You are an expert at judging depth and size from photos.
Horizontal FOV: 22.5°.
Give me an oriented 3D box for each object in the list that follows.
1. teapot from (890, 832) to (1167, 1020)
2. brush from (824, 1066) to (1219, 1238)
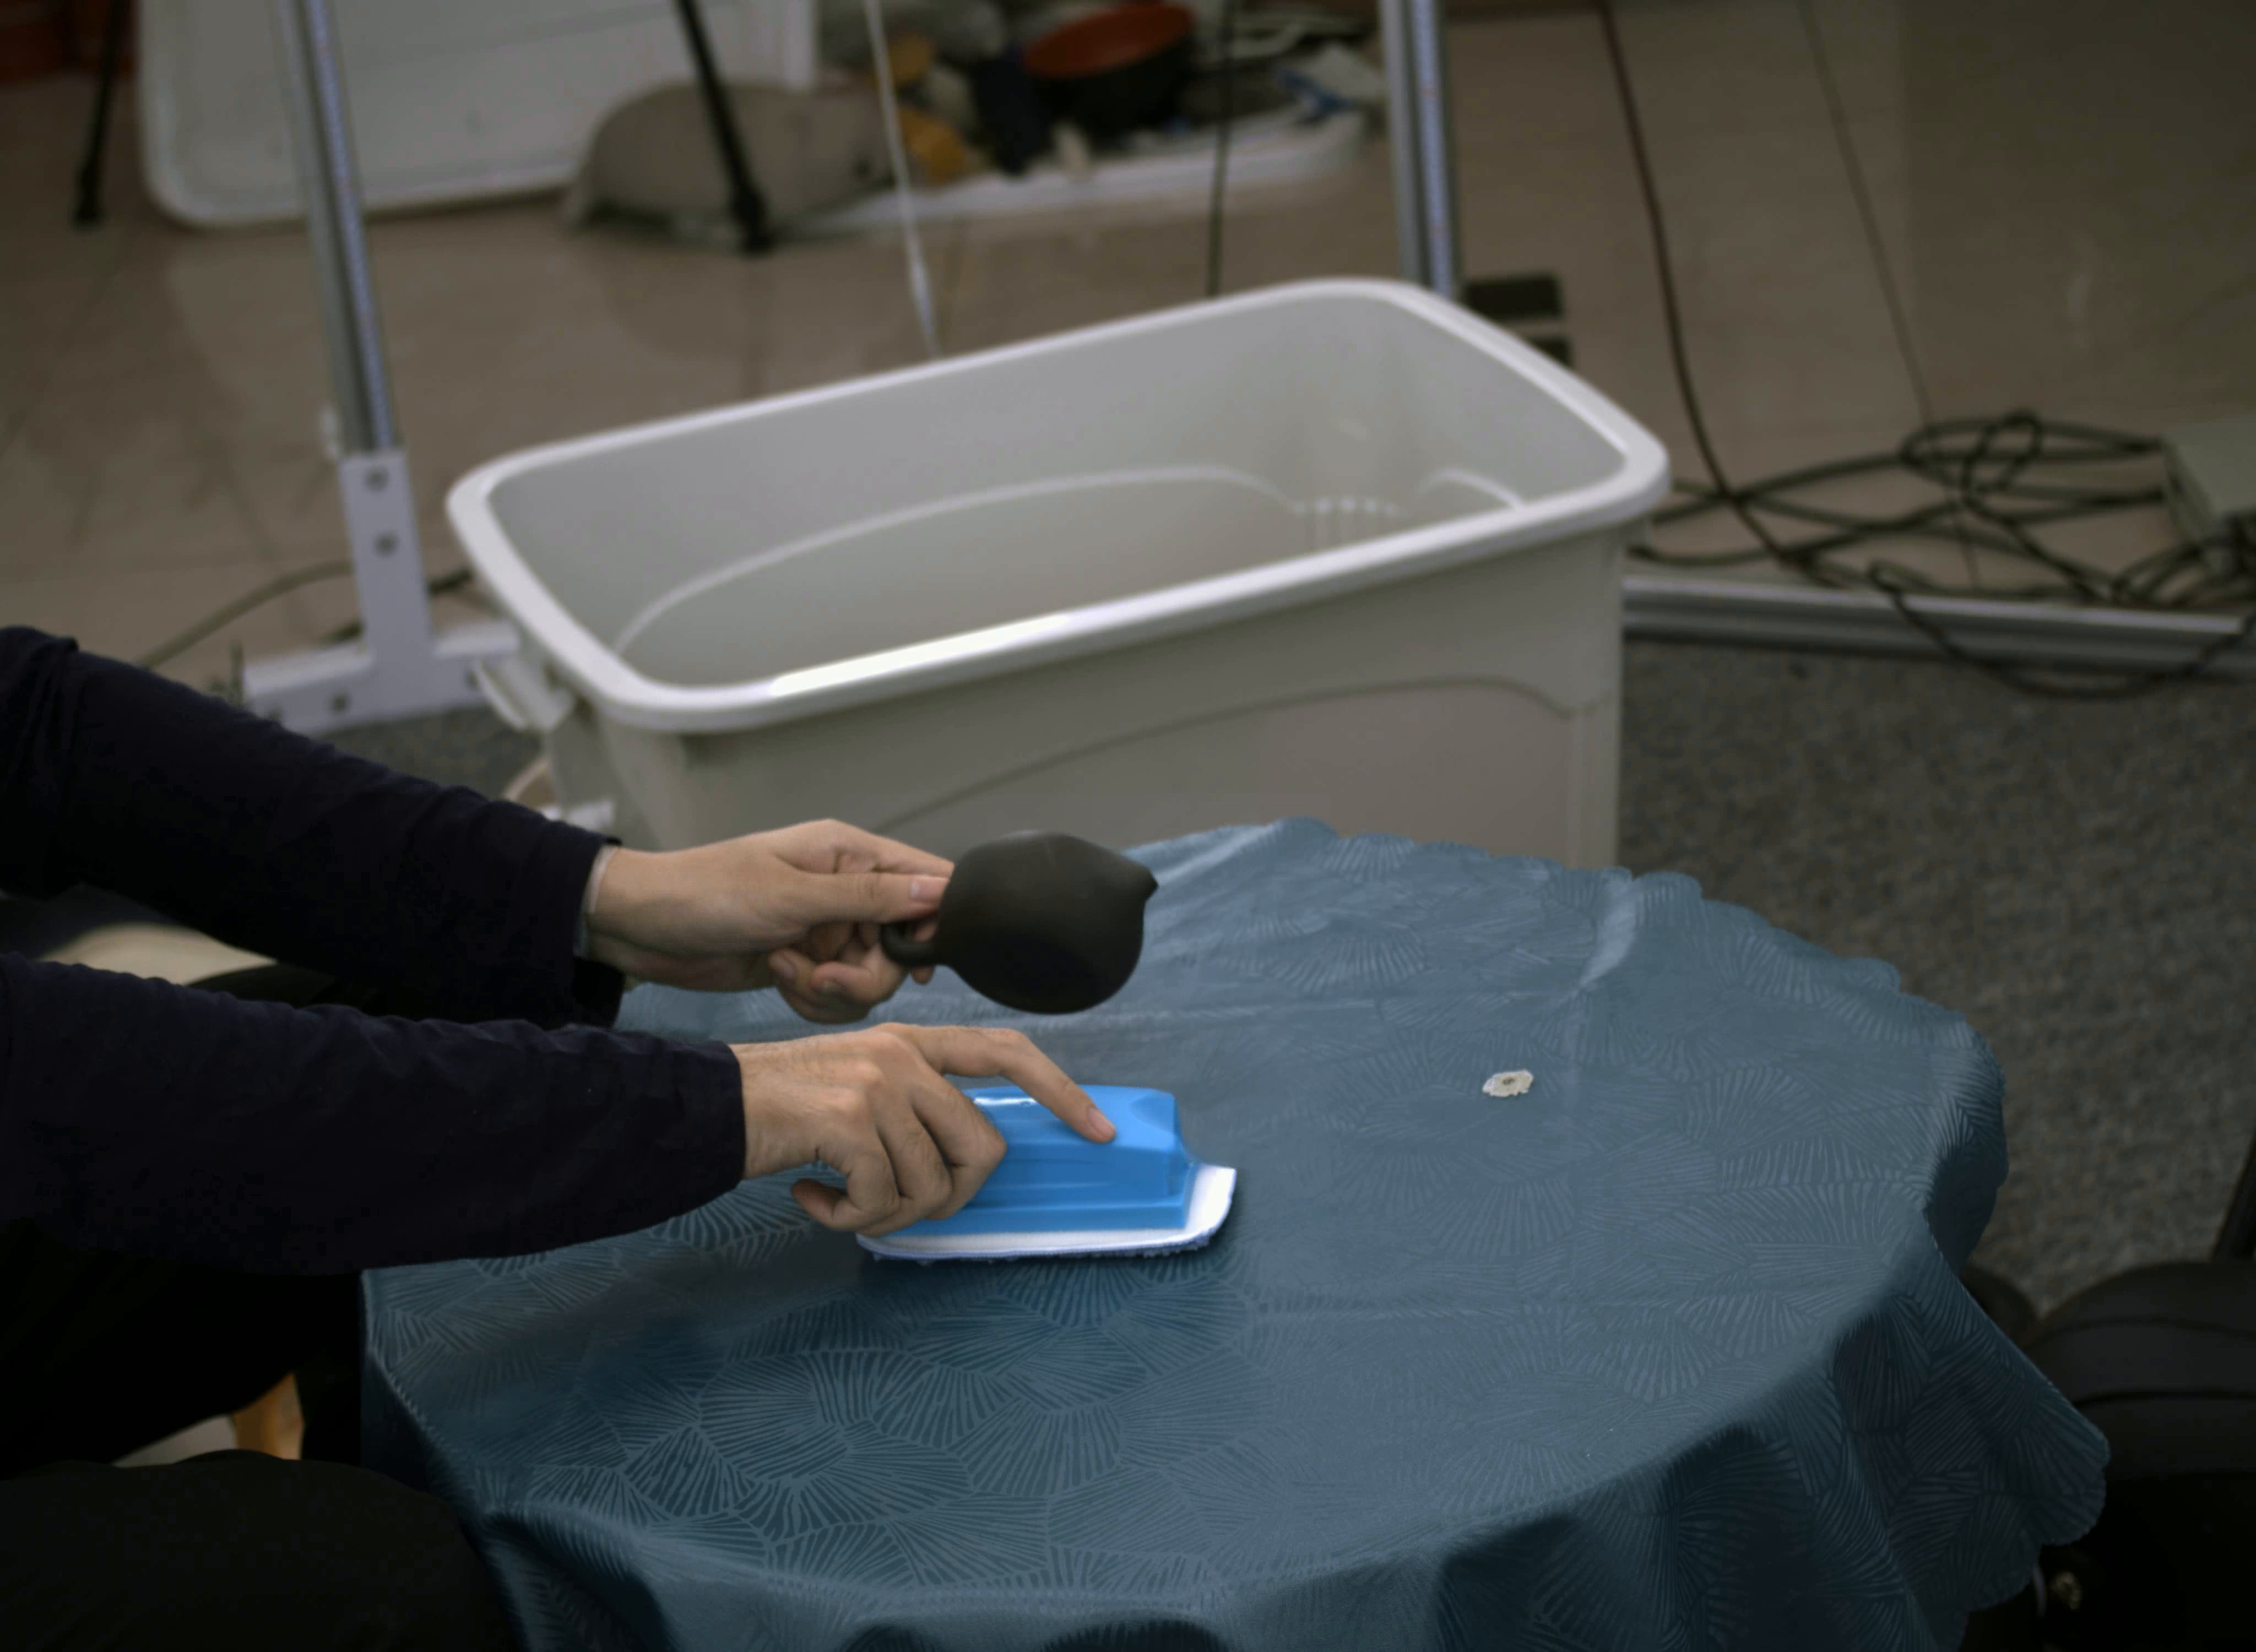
[{"bbox_3d":[-0.041,0.039,2.231,0.114,0.084,0.052,-3,52,26],"label":"teapot"},{"bbox_3d":[-0.040,0.121,2.123,0.143,0.057,0.083,1,23,9],"label":"brush"}]
